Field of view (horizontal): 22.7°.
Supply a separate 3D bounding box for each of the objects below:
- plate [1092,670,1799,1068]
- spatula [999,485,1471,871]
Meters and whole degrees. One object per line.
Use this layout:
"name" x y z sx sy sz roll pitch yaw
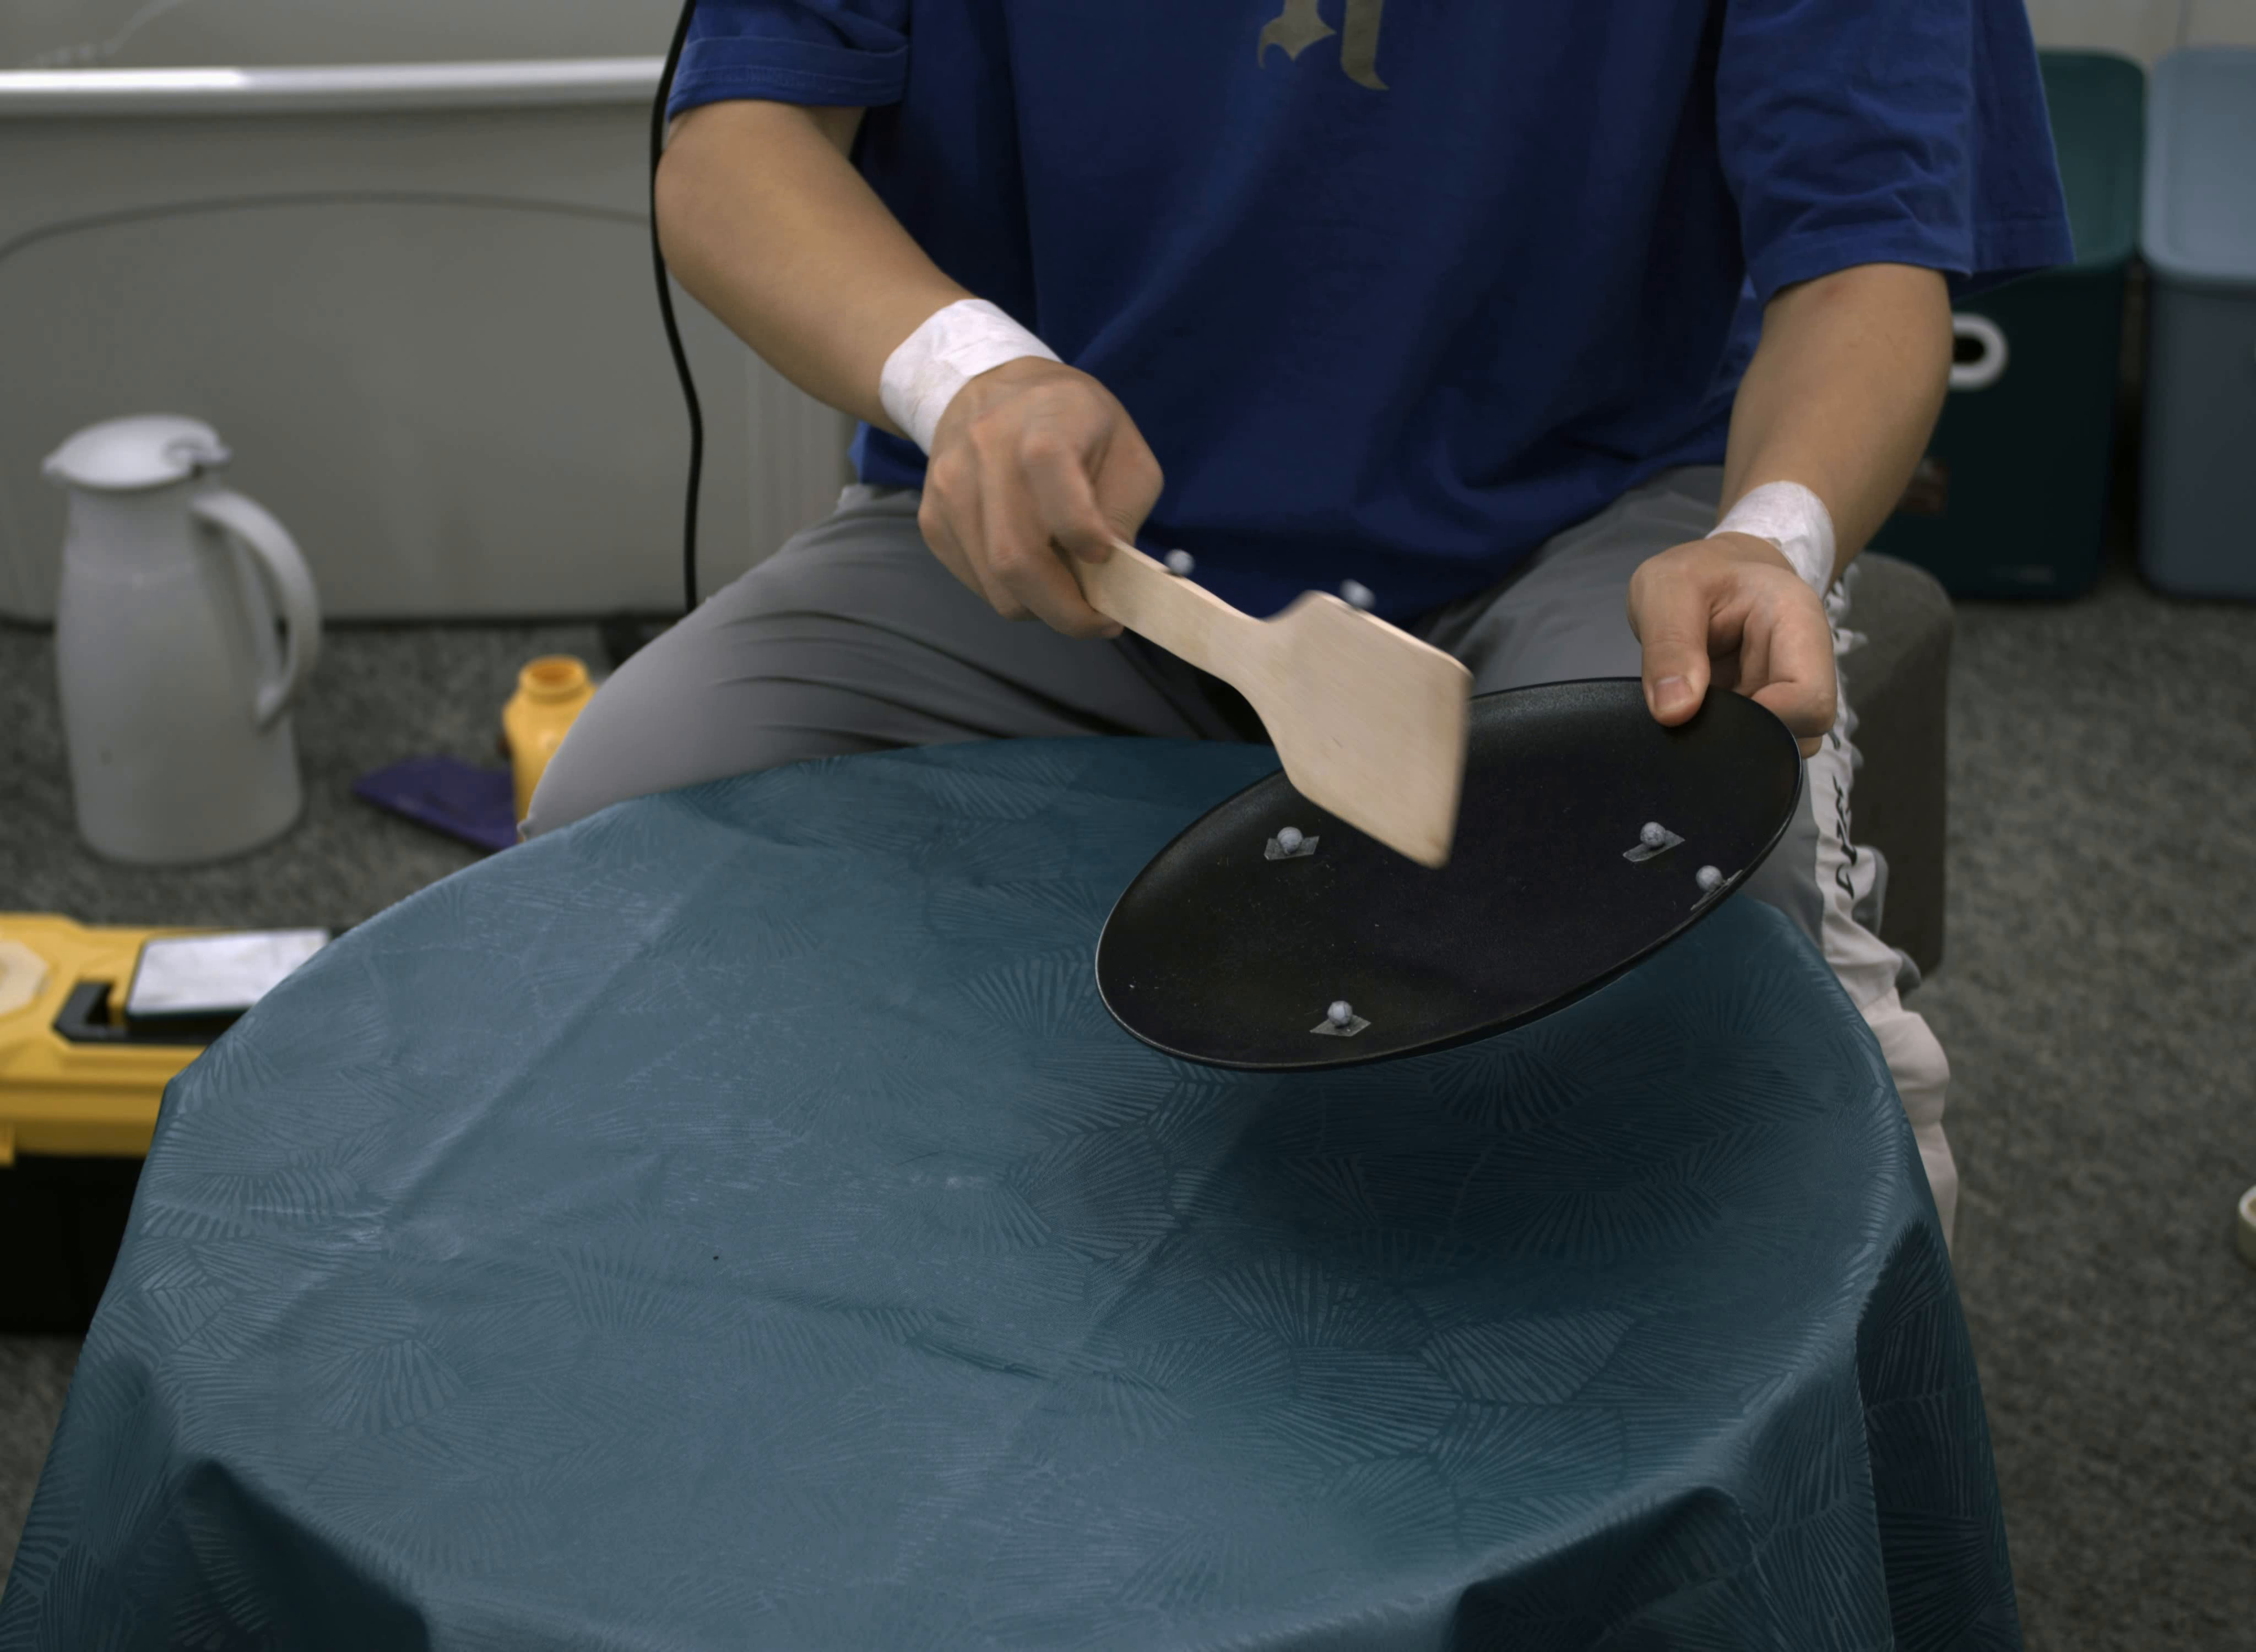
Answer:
"plate" 0.105 0.018 1.846 0.243 0.023 0.248 -17 24 8
"spatula" 0.029 -0.065 1.914 0.011 0.072 0.294 -4 22 -31
